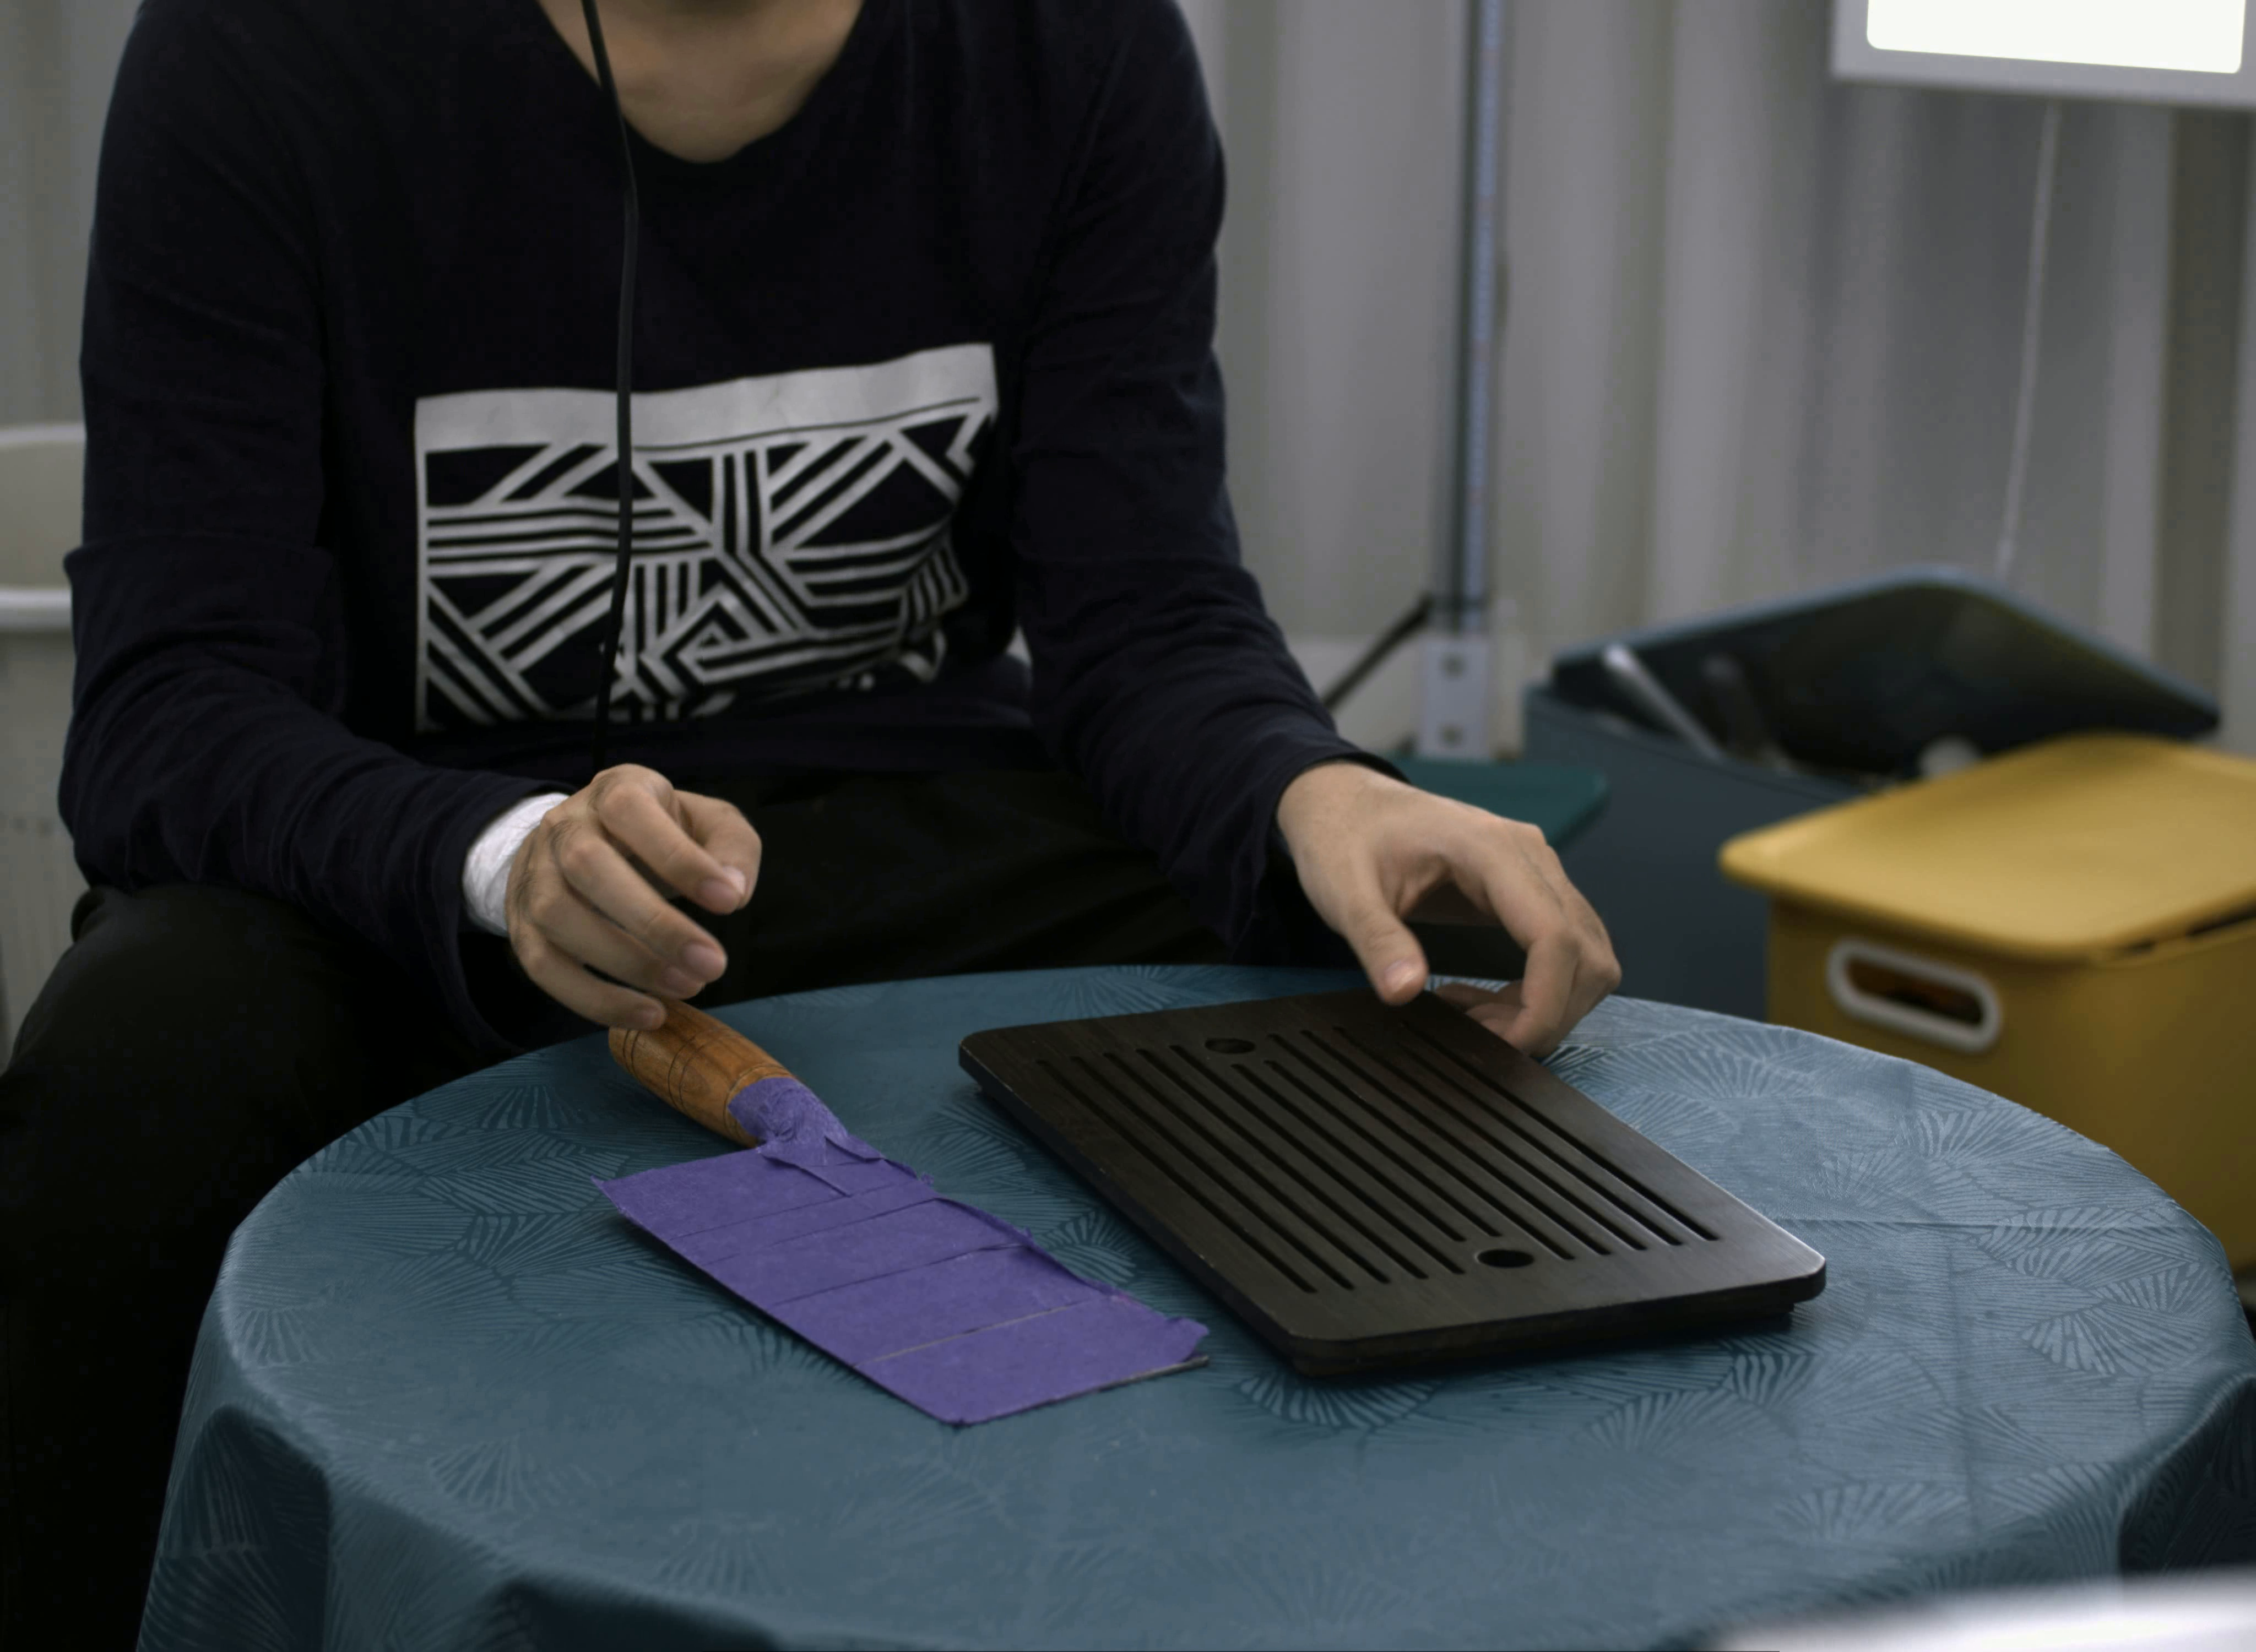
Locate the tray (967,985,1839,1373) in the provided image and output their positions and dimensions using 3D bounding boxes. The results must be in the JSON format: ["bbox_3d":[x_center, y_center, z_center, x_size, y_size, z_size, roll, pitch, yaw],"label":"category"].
[{"bbox_3d":[0.076,0.105,1.621,0.170,0.019,0.302,-5,16,-20],"label":"tray"}]

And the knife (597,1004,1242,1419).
[{"bbox_3d":[-0.096,0.111,1.574,0.104,0.032,0.311,-10,19,-34],"label":"knife"}]
